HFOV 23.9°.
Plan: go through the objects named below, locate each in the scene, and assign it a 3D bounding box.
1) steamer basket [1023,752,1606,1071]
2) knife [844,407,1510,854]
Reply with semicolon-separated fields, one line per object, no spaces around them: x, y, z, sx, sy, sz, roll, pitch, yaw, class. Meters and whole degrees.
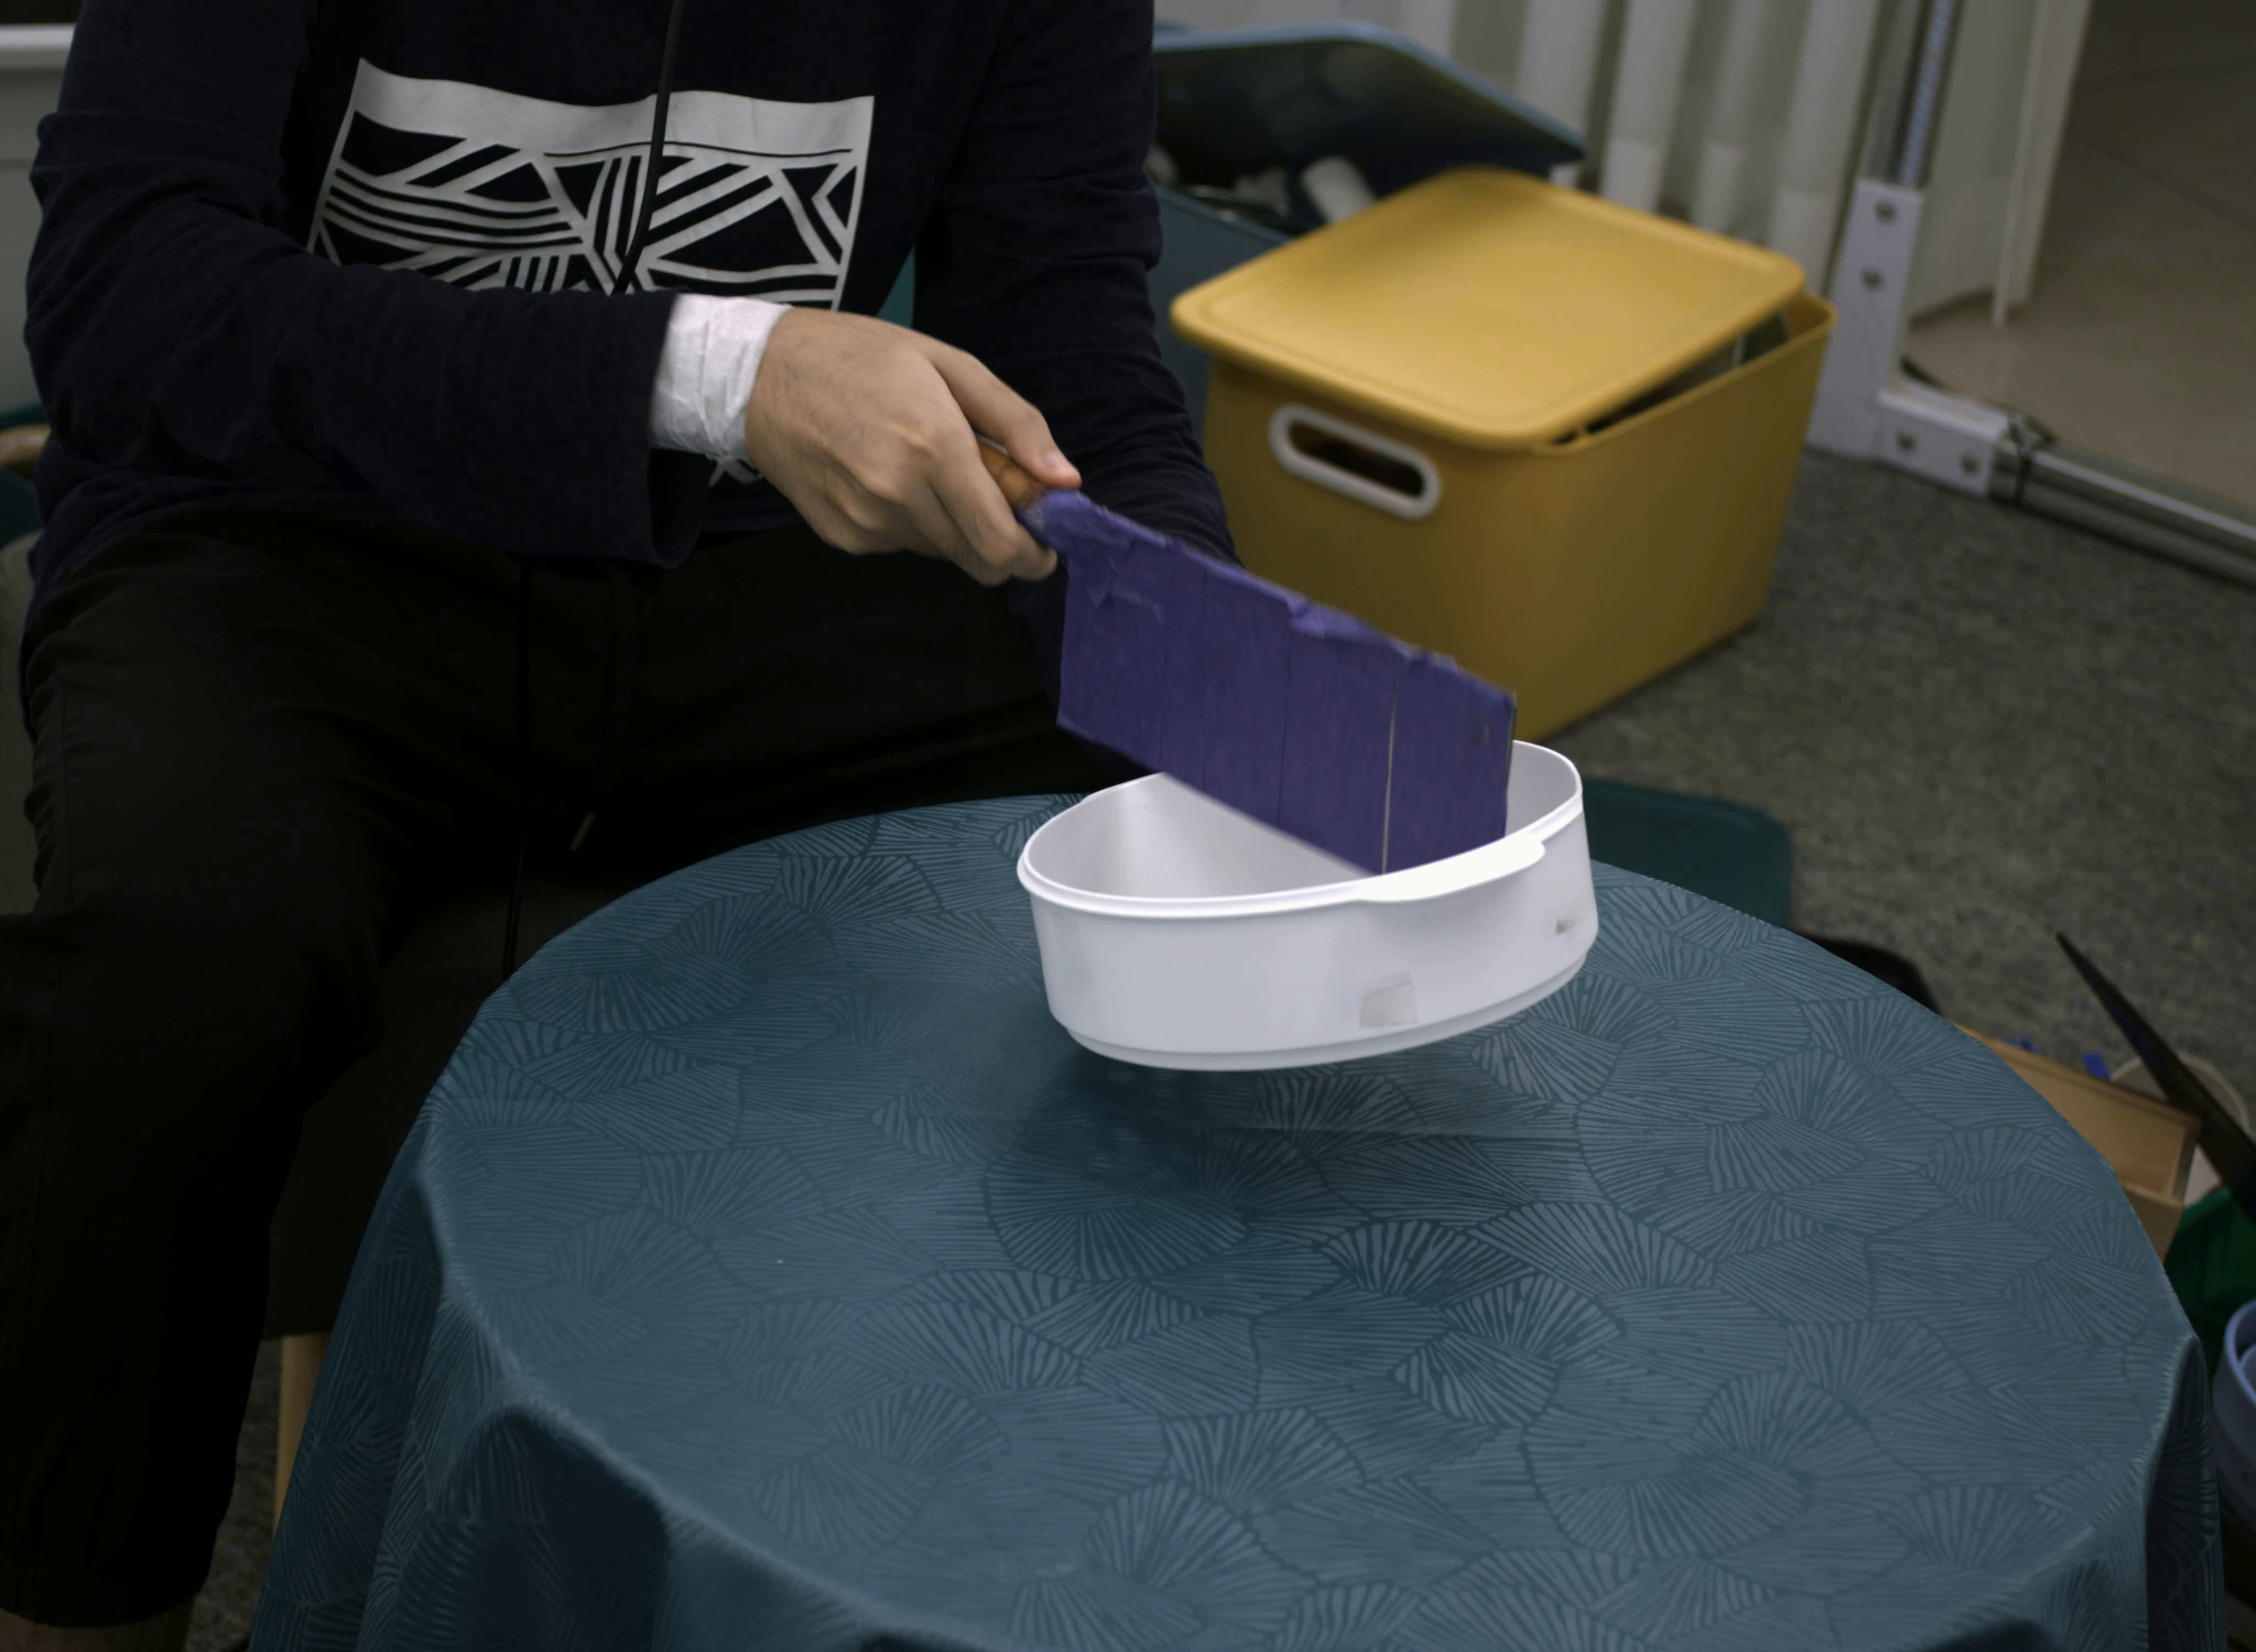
0.067;0.030;1.847;0.201;0.069;0.232;-15;13;-26;steamer basket
0.013;-0.062;1.876;0.032;0.103;0.317;-19;33;-40;knife
